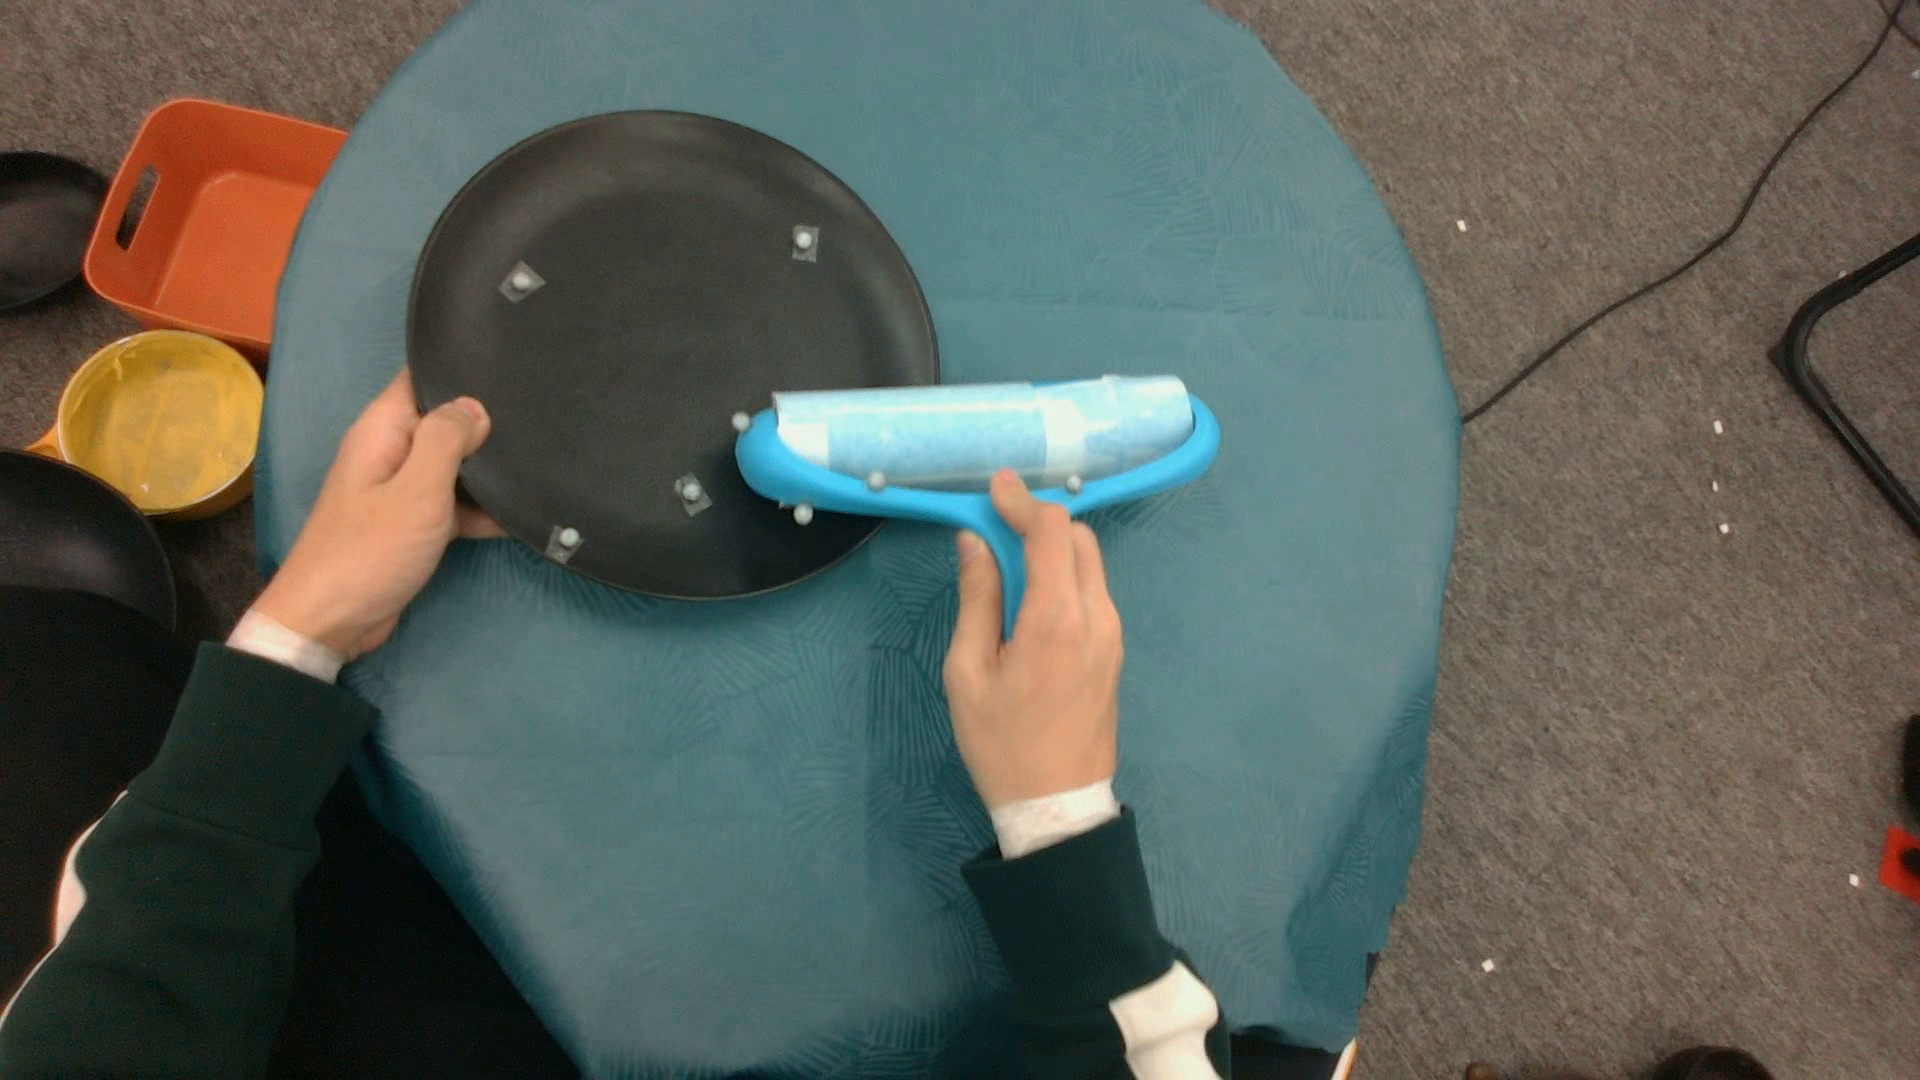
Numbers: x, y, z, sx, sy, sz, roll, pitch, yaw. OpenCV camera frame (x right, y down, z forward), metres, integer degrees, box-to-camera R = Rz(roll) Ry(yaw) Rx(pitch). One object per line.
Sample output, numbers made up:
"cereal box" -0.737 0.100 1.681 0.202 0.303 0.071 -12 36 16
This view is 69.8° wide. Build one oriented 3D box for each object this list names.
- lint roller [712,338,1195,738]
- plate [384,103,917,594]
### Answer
"lint roller" 0.013 -0.006 0.623 0.229 0.067 0.181 -9 67 -15
"plate" -0.139 -0.091 0.646 0.245 0.023 0.245 6 73 -19
